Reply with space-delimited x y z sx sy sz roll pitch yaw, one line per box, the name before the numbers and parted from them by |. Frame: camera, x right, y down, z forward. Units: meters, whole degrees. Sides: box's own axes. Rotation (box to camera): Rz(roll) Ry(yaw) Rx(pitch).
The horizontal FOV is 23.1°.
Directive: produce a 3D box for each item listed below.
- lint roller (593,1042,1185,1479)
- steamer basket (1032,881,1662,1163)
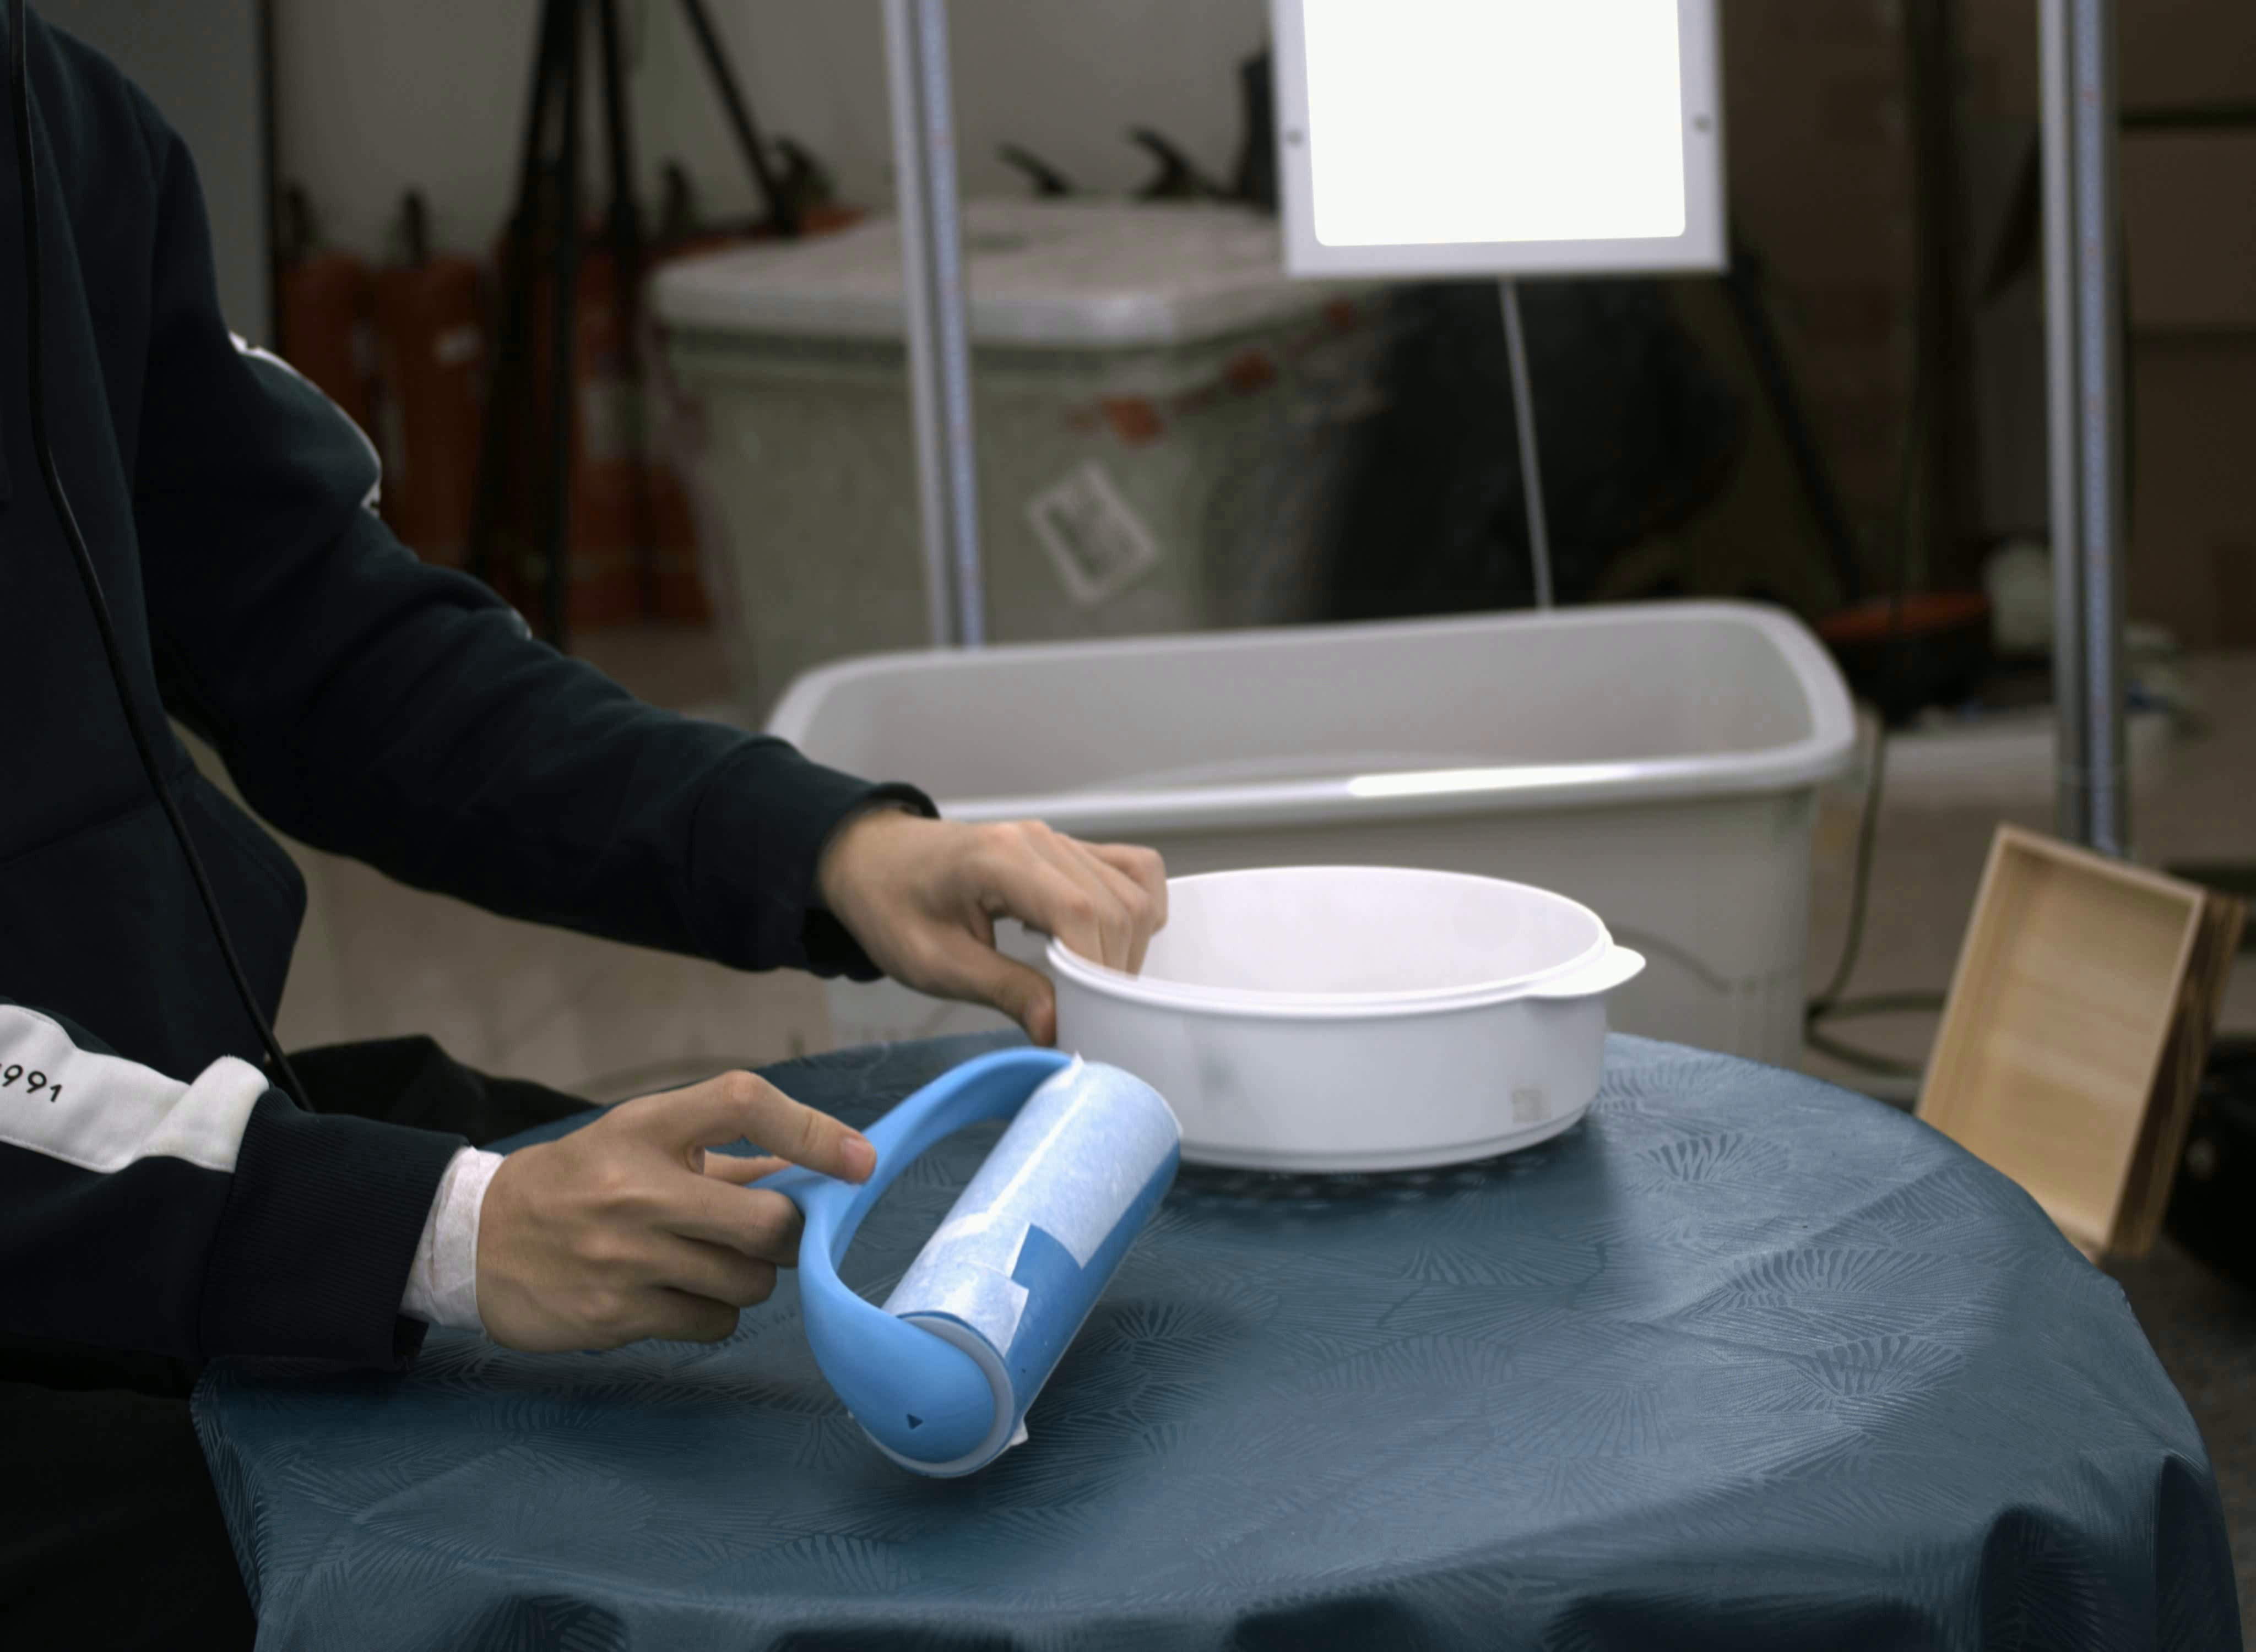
lint roller | -0.086 0.136 1.711 0.182 0.068 0.226 -5 22 14
steamer basket | 0.076 0.069 1.936 0.235 0.069 0.197 4 11 29
